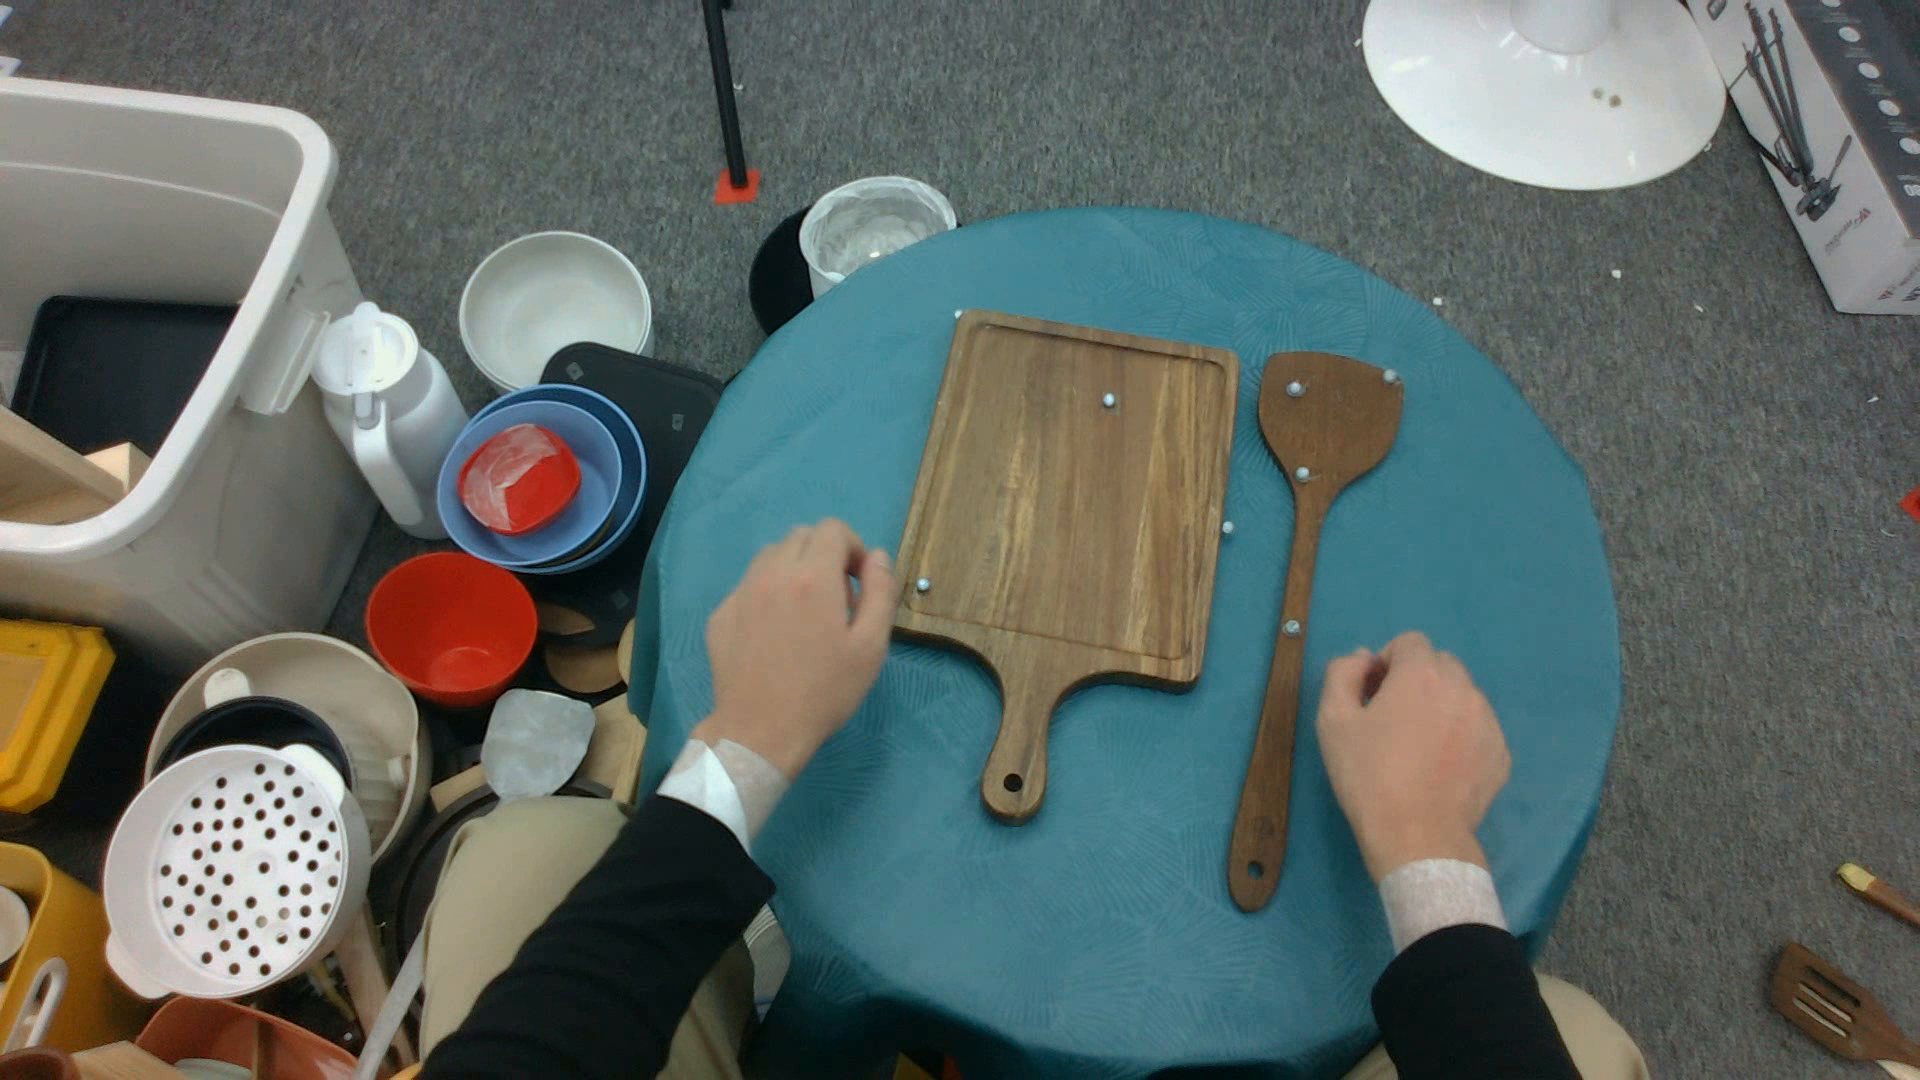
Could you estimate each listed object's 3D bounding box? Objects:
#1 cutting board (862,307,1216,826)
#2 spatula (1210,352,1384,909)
[{"bbox_3d":[0.048,0.006,0.858,0.201,0.023,0.353,10,60,4],"label":"cutting board"},{"bbox_3d":[0.197,0.038,0.850,0.096,0.016,0.387,13,61,6],"label":"spatula"}]
